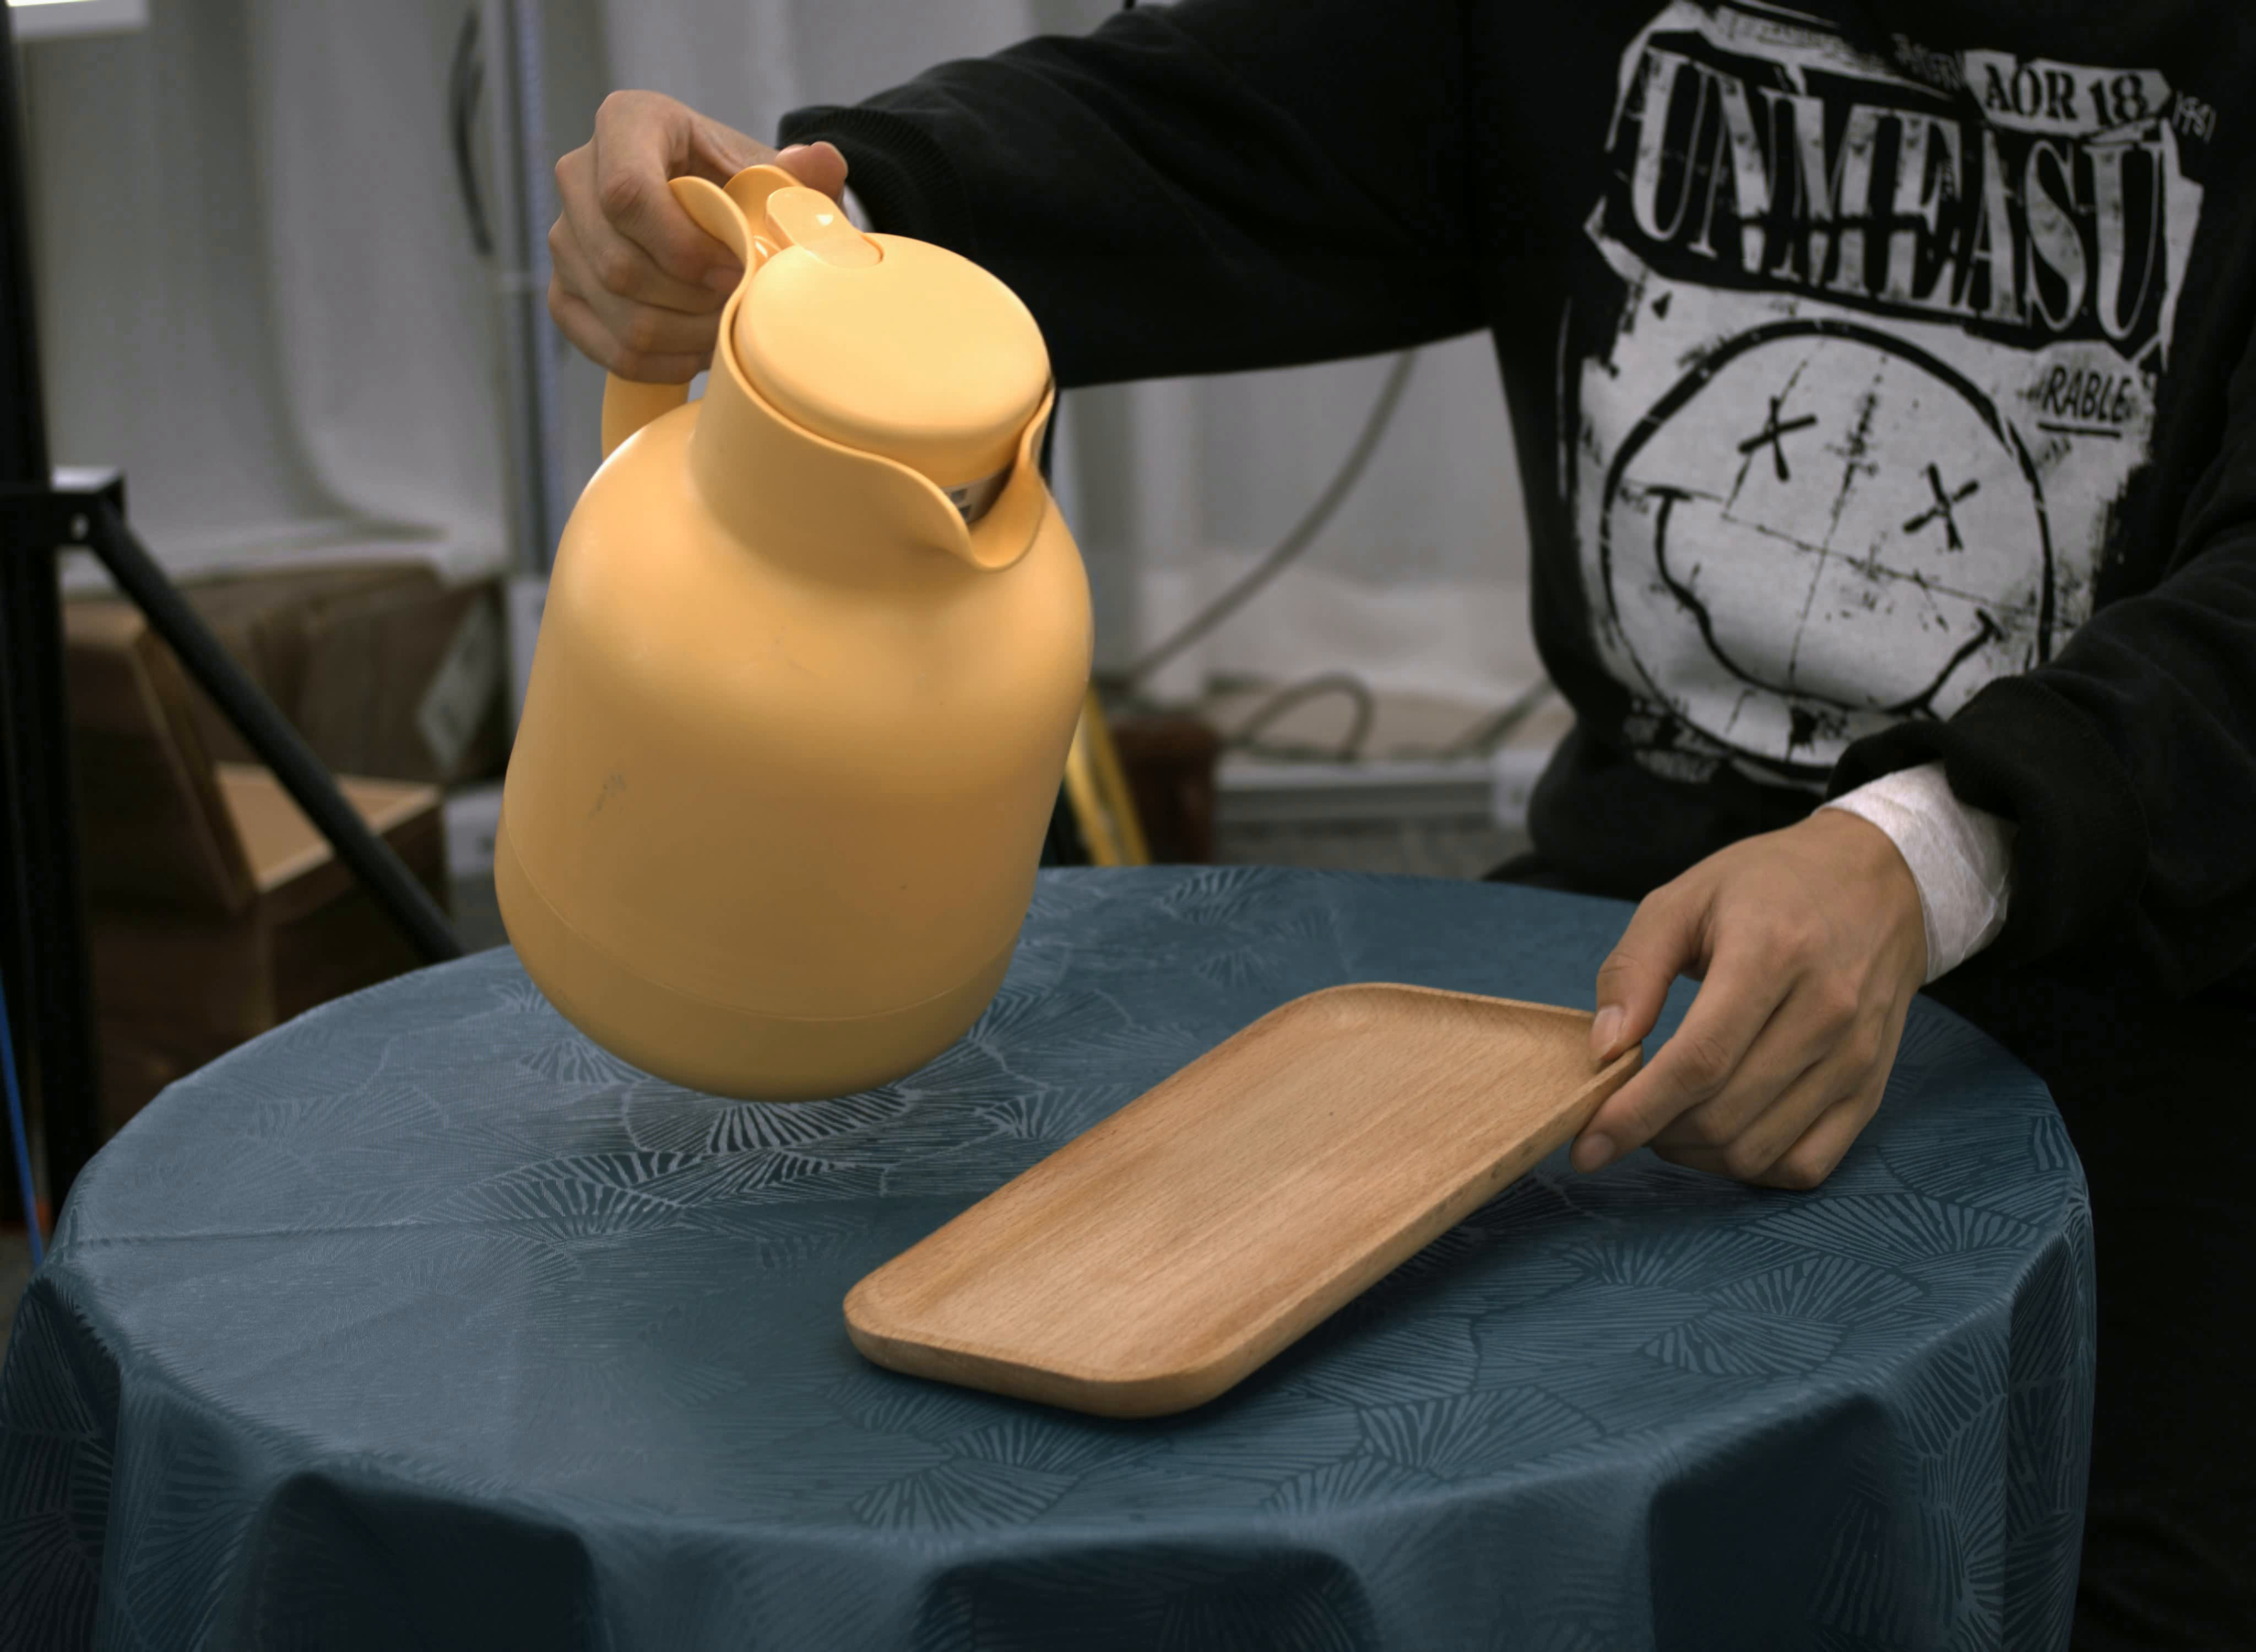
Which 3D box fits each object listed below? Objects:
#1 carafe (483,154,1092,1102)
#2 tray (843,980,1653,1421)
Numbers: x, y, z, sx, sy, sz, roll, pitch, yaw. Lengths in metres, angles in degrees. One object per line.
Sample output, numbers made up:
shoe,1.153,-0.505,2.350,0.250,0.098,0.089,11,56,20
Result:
carafe,-0.100,-0.066,1.578,0.160,0.261,0.206,-9,48,-29
tray,0.038,0.101,1.482,0.133,0.023,0.246,11,27,38
